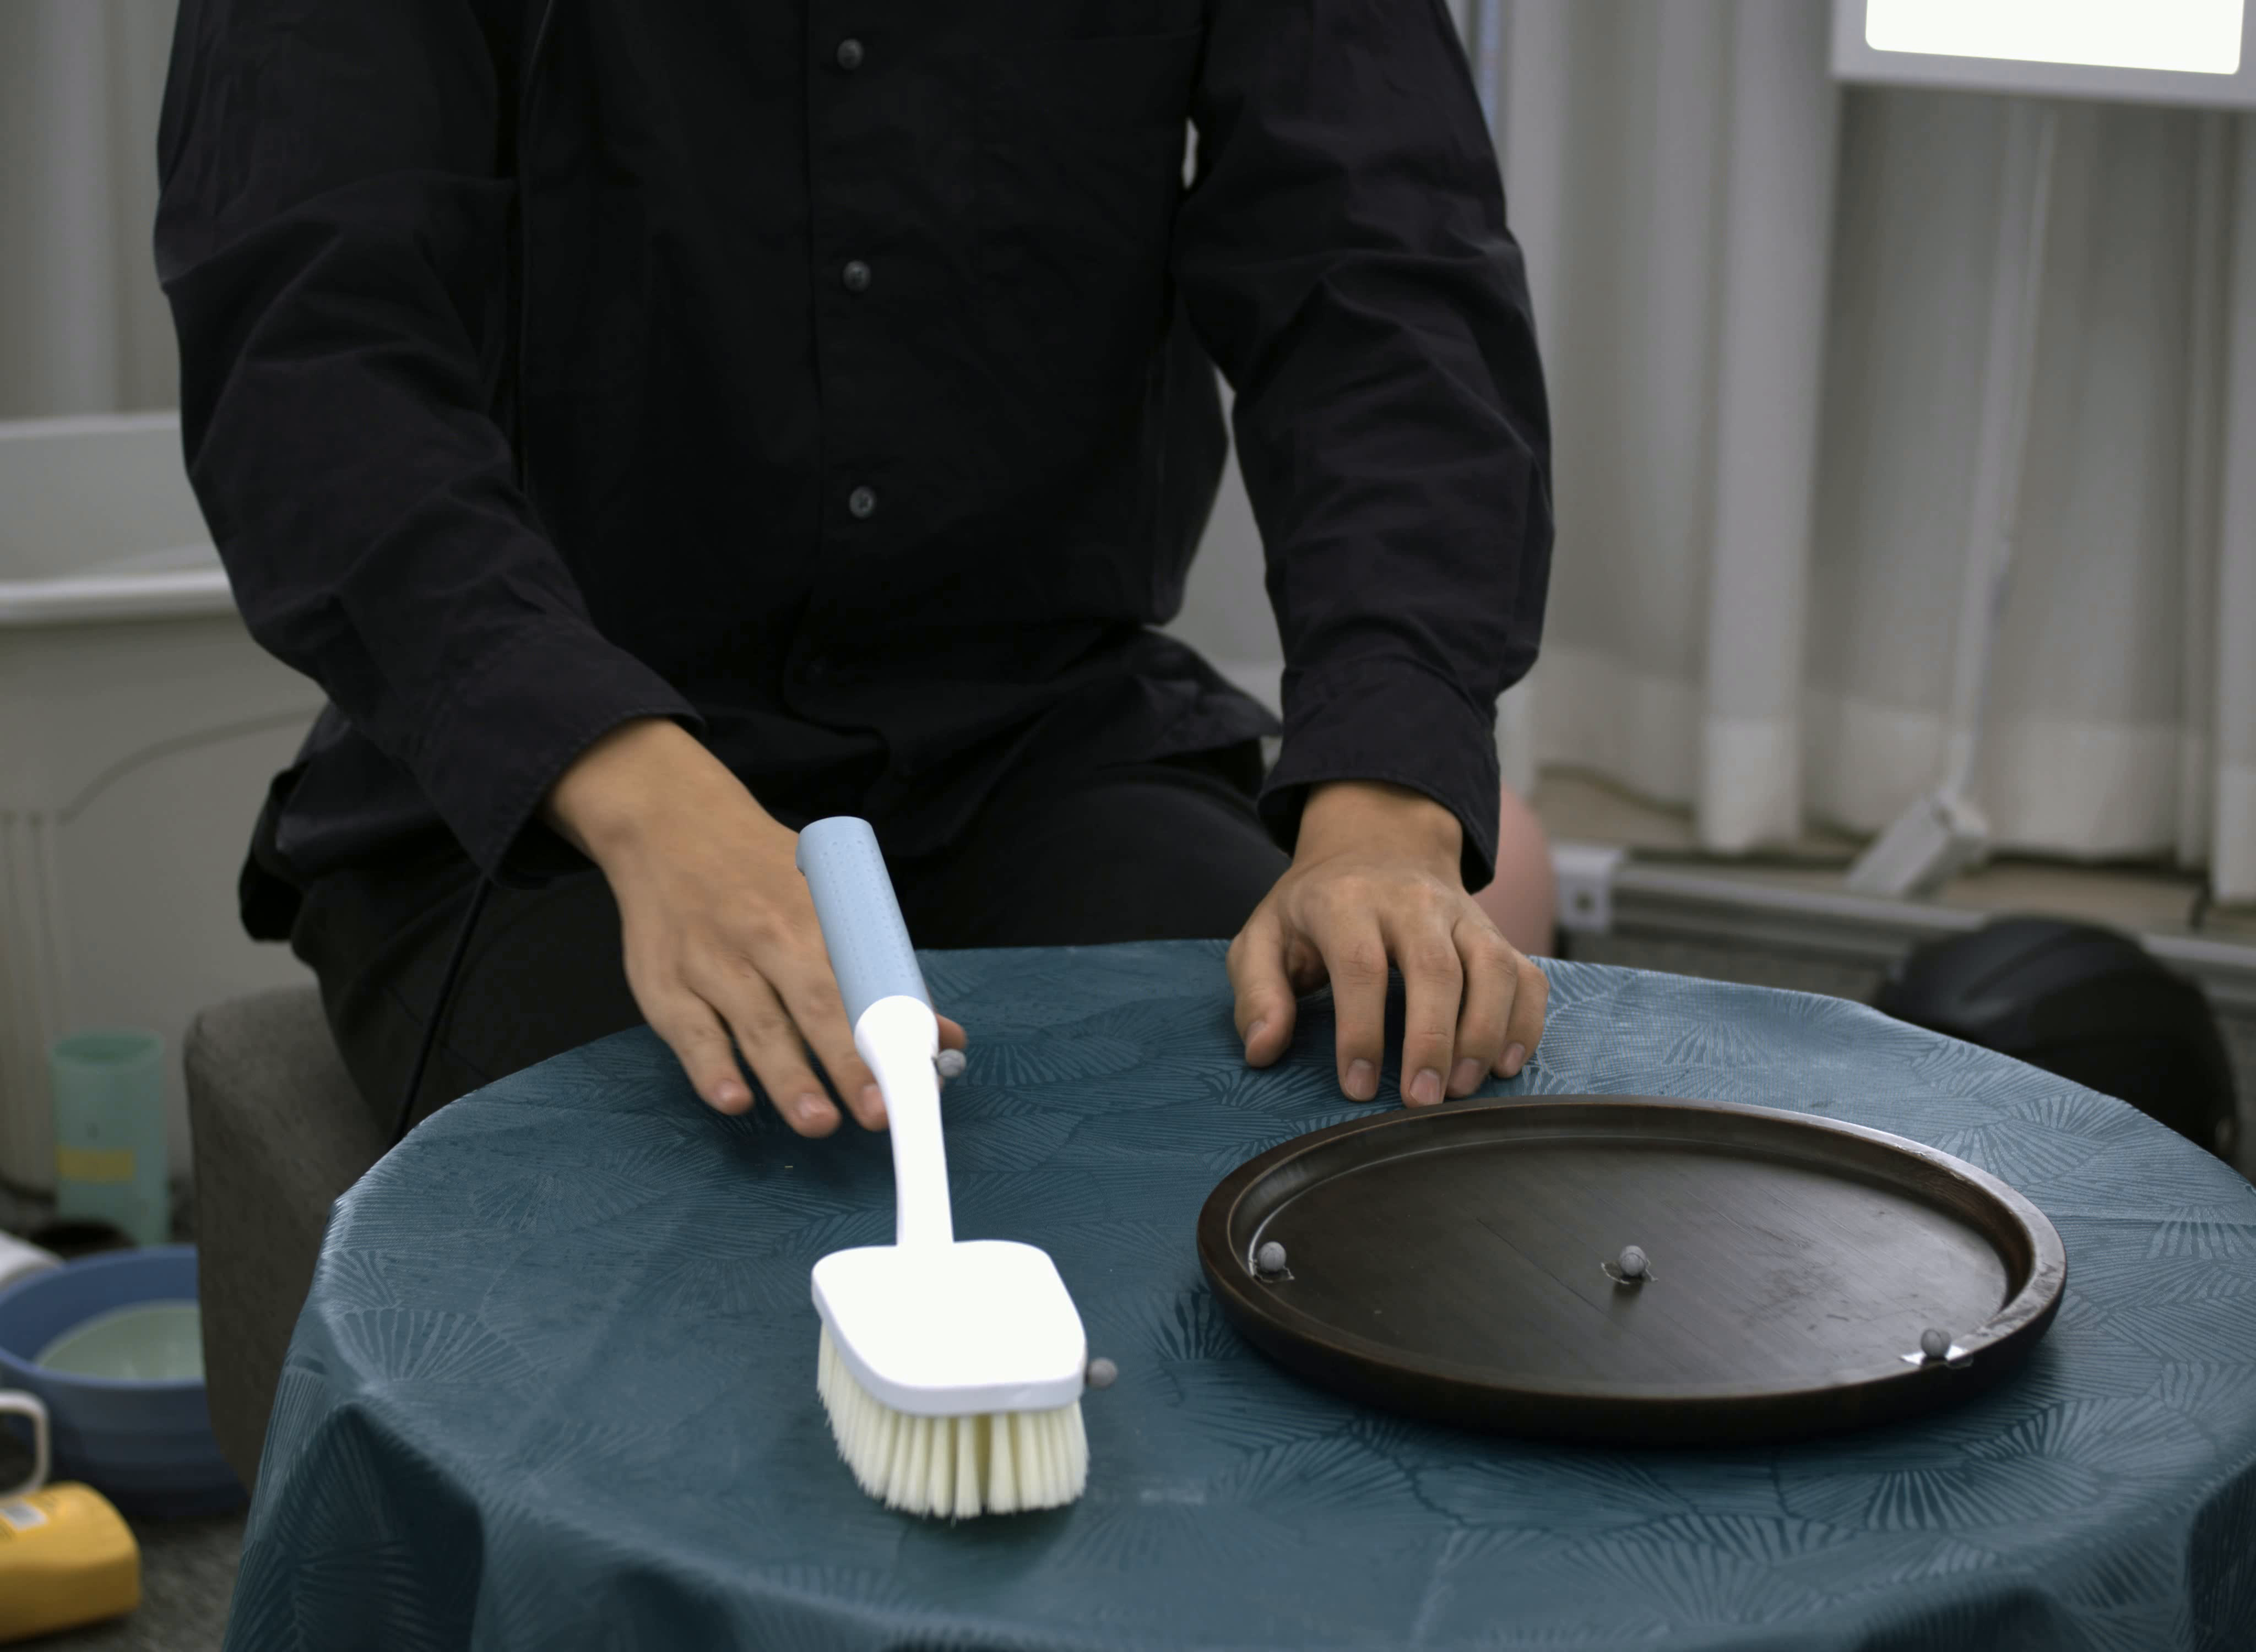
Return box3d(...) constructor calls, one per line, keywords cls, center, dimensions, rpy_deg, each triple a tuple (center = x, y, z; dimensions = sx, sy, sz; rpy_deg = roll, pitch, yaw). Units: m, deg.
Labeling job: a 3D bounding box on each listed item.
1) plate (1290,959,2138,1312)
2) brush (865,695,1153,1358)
box3d(cls="plate", center=(0.174, 0.091, 1.575), dimensions=(0.254, 0.029, 0.253), rpy_deg=(-1, 17, 1))
box3d(cls="brush", center=(-0.042, 0.070, 1.538), dimensions=(0.084, 0.084, 0.322), rpy_deg=(34, 16, -25))
